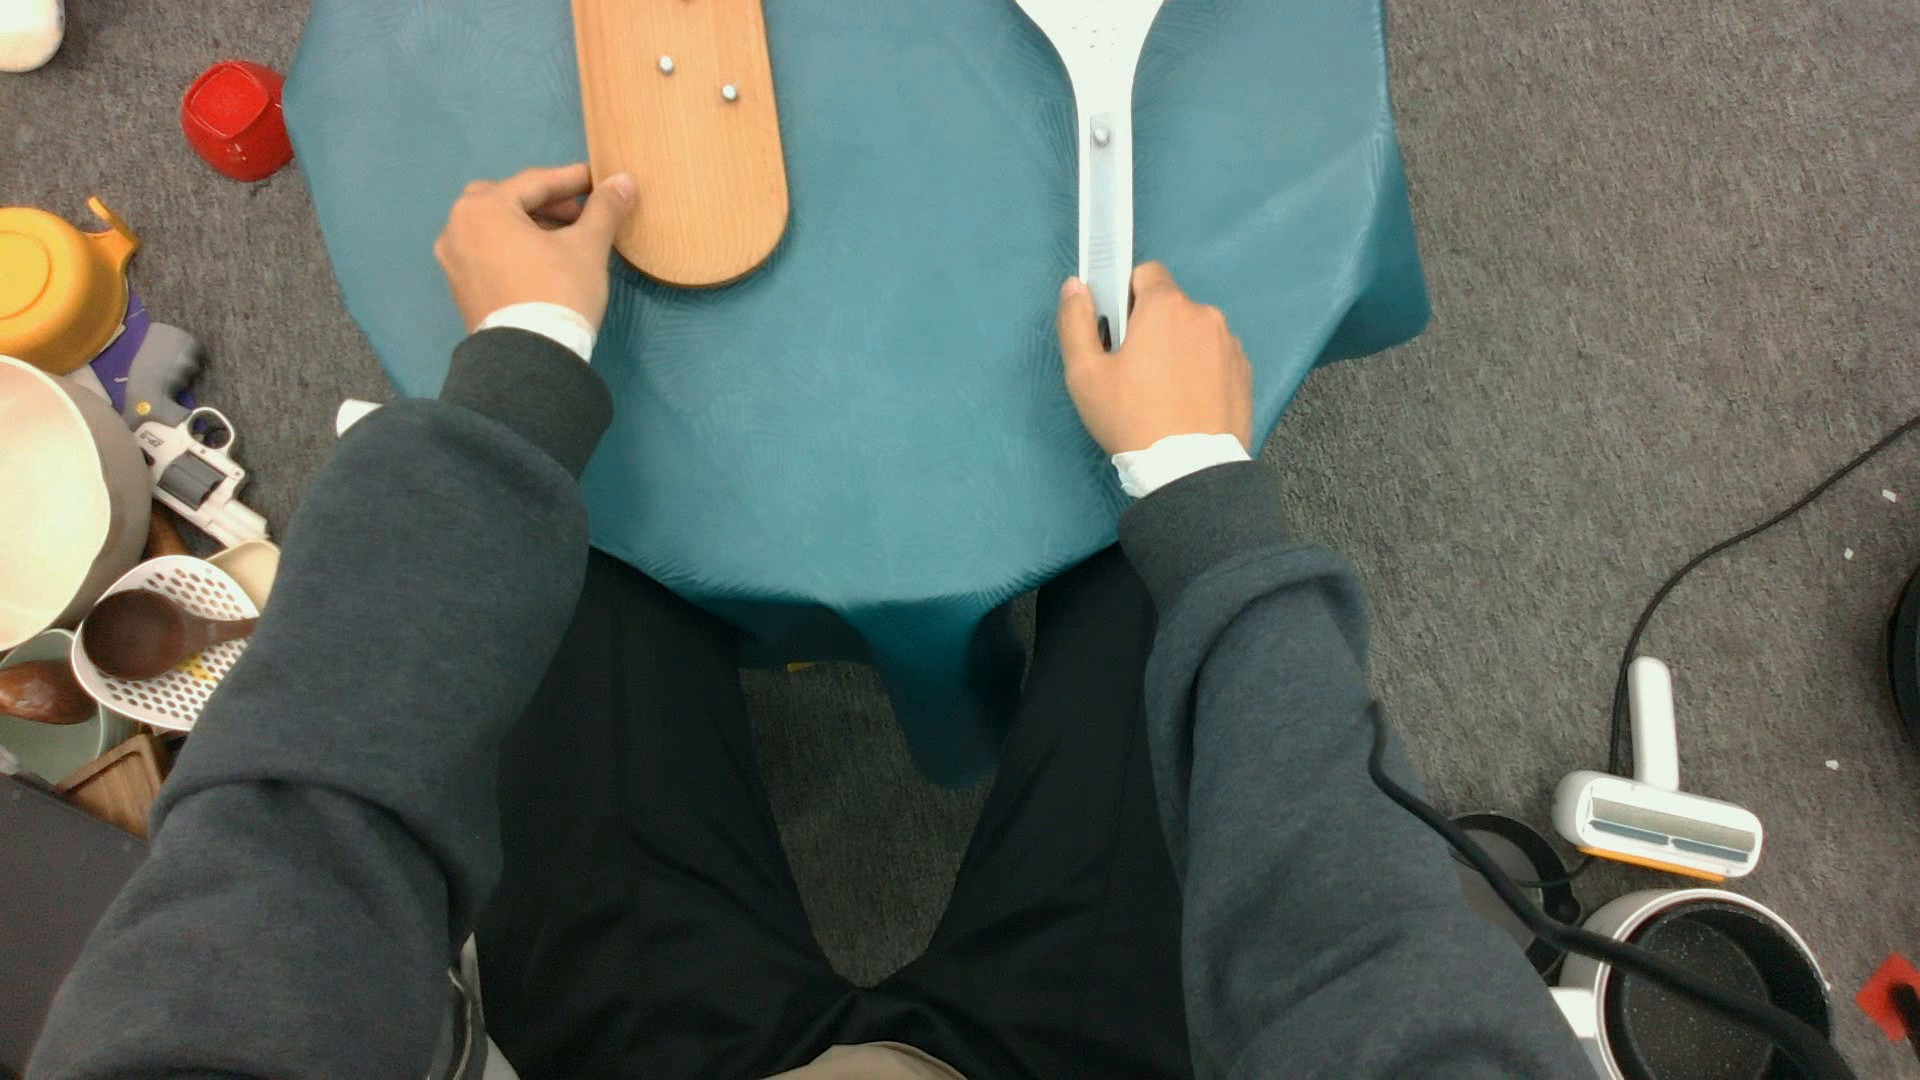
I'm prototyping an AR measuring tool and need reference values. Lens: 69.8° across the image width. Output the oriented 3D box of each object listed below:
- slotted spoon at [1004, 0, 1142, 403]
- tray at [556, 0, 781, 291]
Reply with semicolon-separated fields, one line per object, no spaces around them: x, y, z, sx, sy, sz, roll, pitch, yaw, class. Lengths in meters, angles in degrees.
0.070;-0.244;0.733;0.135;0.046;0.350;-5;75;27;slotted spoon
-0.159;-0.243;0.745;0.102;0.020;0.231;-9;81;-9;tray
